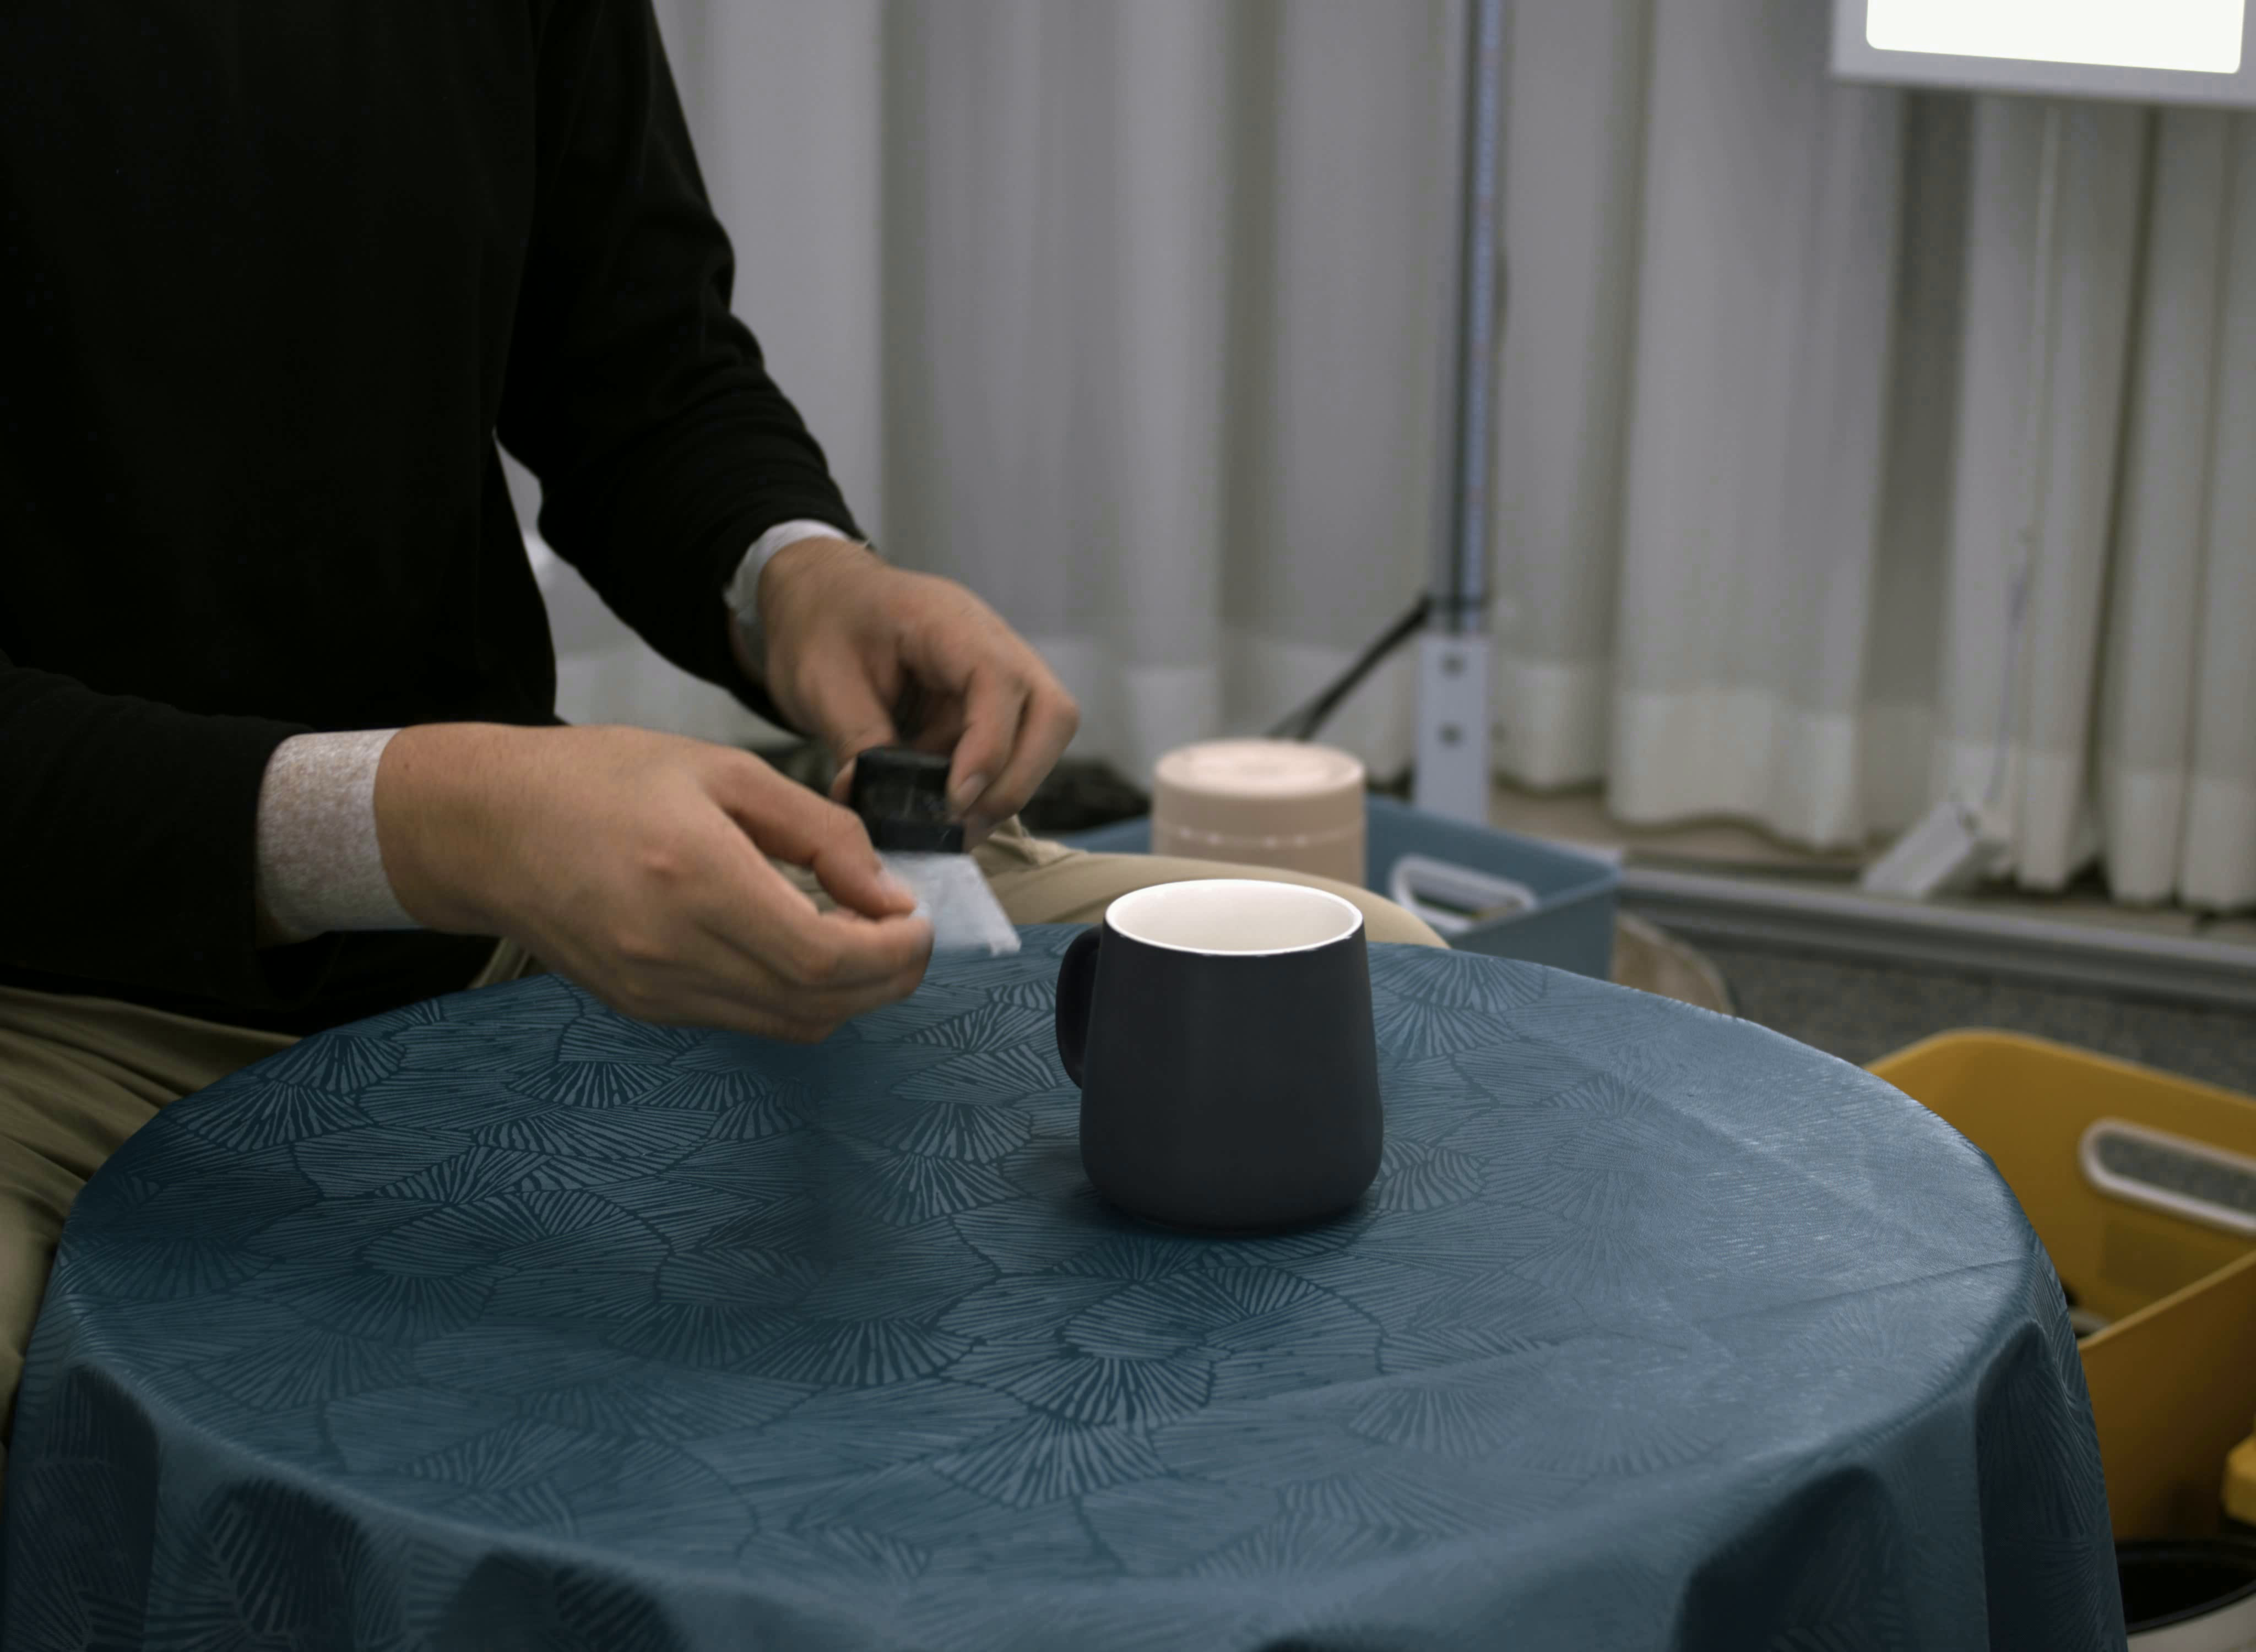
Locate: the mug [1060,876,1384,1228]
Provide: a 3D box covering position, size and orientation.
[{"bbox_3d":[0.023,0.065,1.616,0.094,0.090,0.121,-12,21,-39],"label":"mug"}]

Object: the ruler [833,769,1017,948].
[{"bbox_3d":[-0.064,0.009,1.602,0.038,0.024,0.217,-1,9,-8],"label":"ruler"}]
